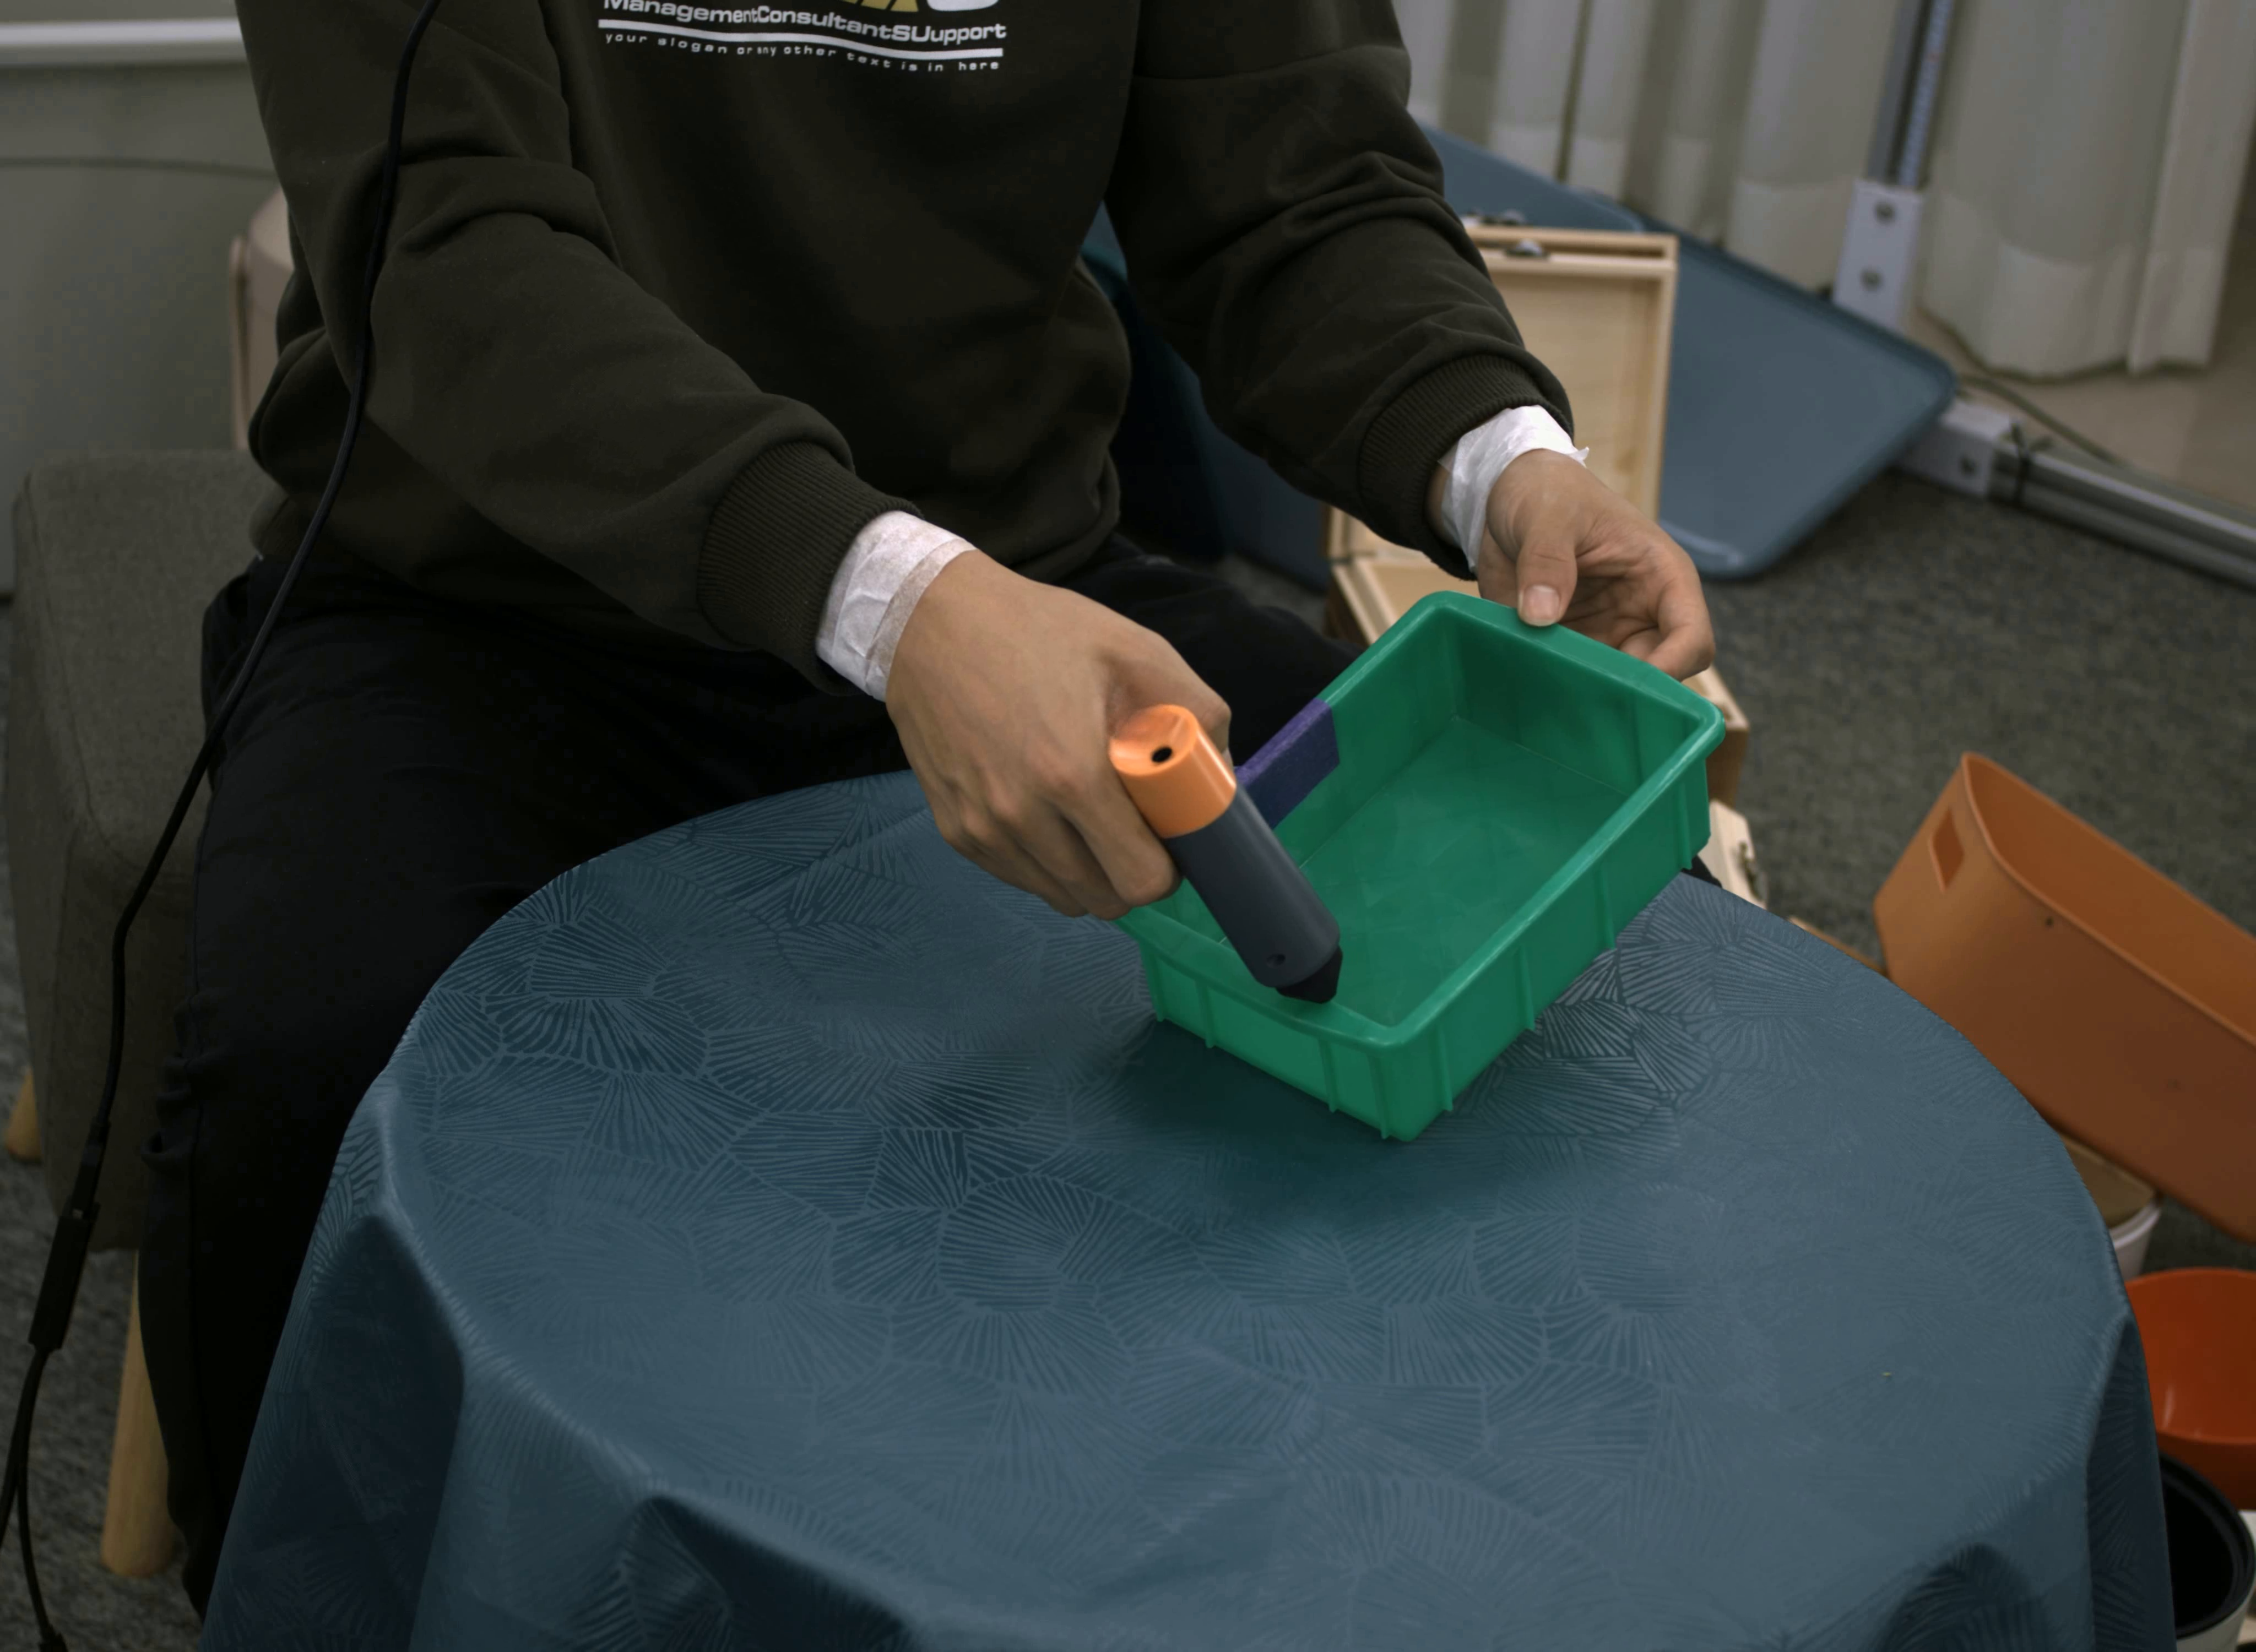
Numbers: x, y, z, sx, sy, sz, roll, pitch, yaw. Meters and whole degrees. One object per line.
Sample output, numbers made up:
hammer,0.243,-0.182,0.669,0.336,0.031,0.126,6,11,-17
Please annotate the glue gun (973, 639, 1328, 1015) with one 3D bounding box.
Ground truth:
glue gun,0.011,-0.002,1.834,0.041,0.117,0.141,-37,43,-20

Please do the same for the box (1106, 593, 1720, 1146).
box,0.106,0.017,1.912,0.139,0.065,0.210,24,55,33
